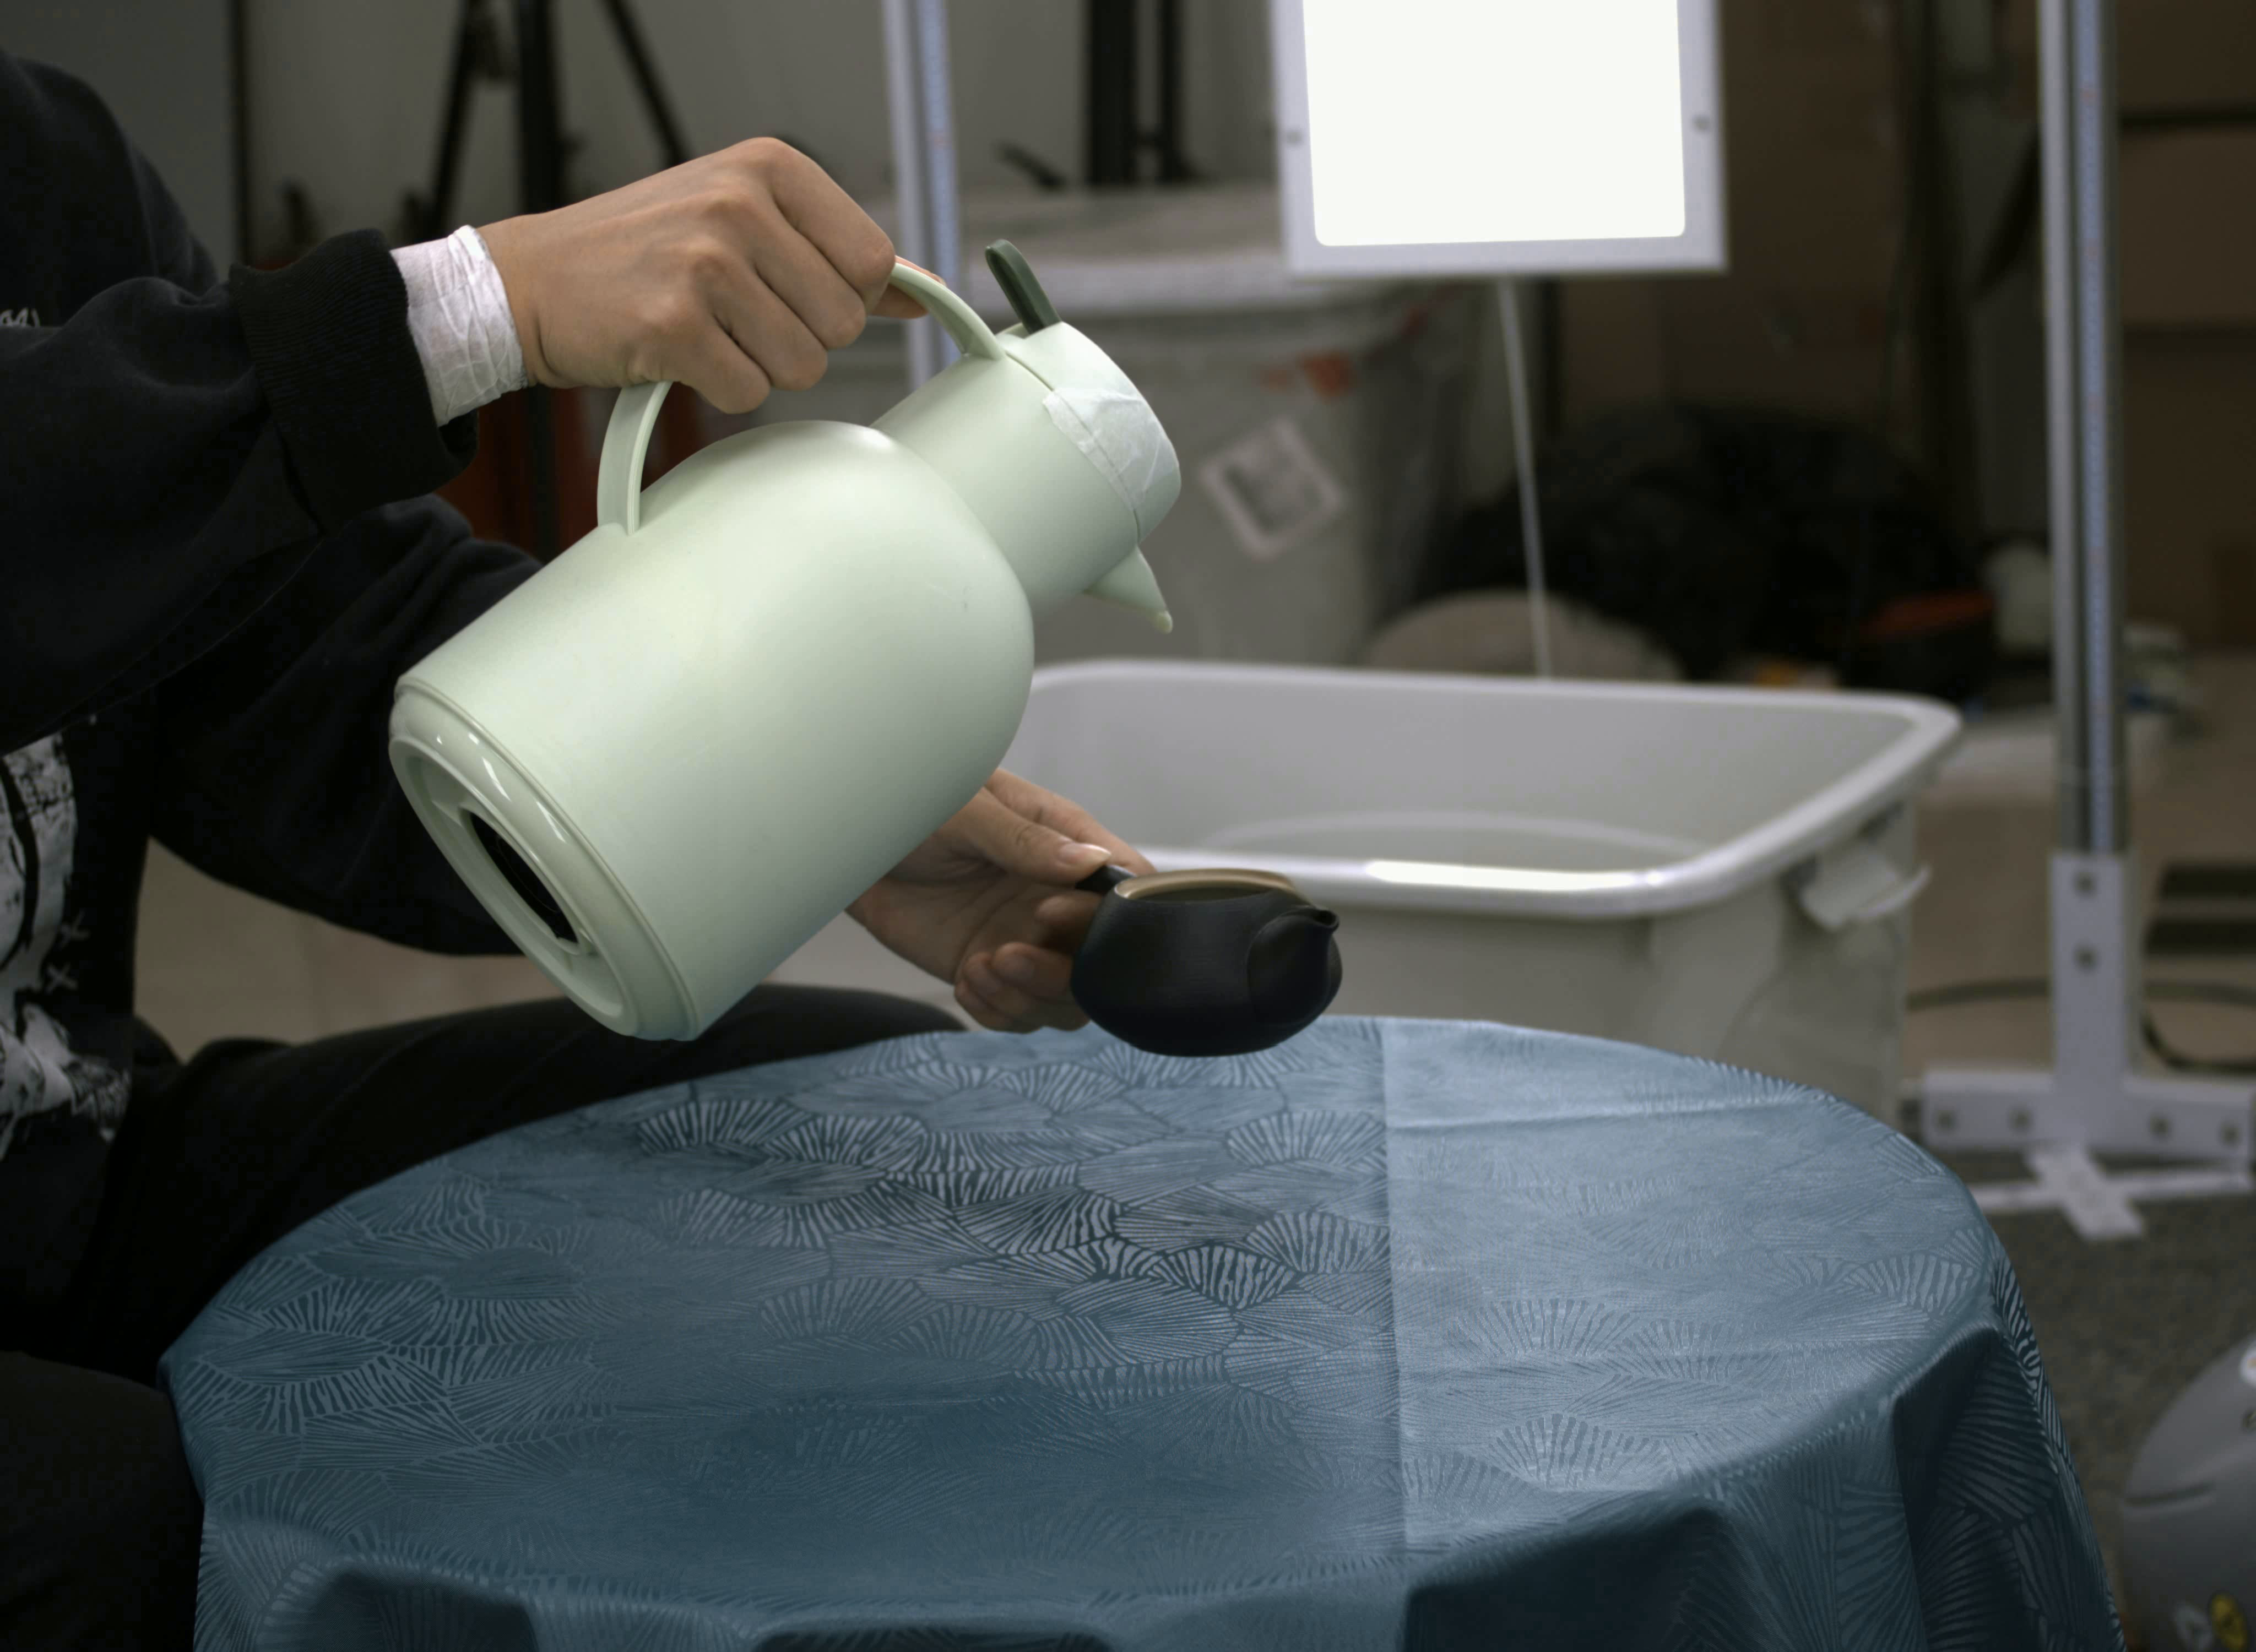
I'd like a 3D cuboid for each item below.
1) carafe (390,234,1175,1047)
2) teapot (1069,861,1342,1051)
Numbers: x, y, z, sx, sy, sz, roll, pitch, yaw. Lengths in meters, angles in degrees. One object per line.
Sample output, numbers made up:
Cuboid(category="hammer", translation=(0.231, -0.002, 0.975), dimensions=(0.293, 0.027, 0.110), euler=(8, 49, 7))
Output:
Cuboid(category="carafe", translation=(-0.107, -0.069, 1.735), dimensions=(0.254, 0.185, 0.146), euler=(-44, 23, -12))
Cuboid(category="teapot", translation=(0.025, 0.044, 1.823), dimensions=(0.088, 0.053, 0.136), euler=(-10, 13, -37))
